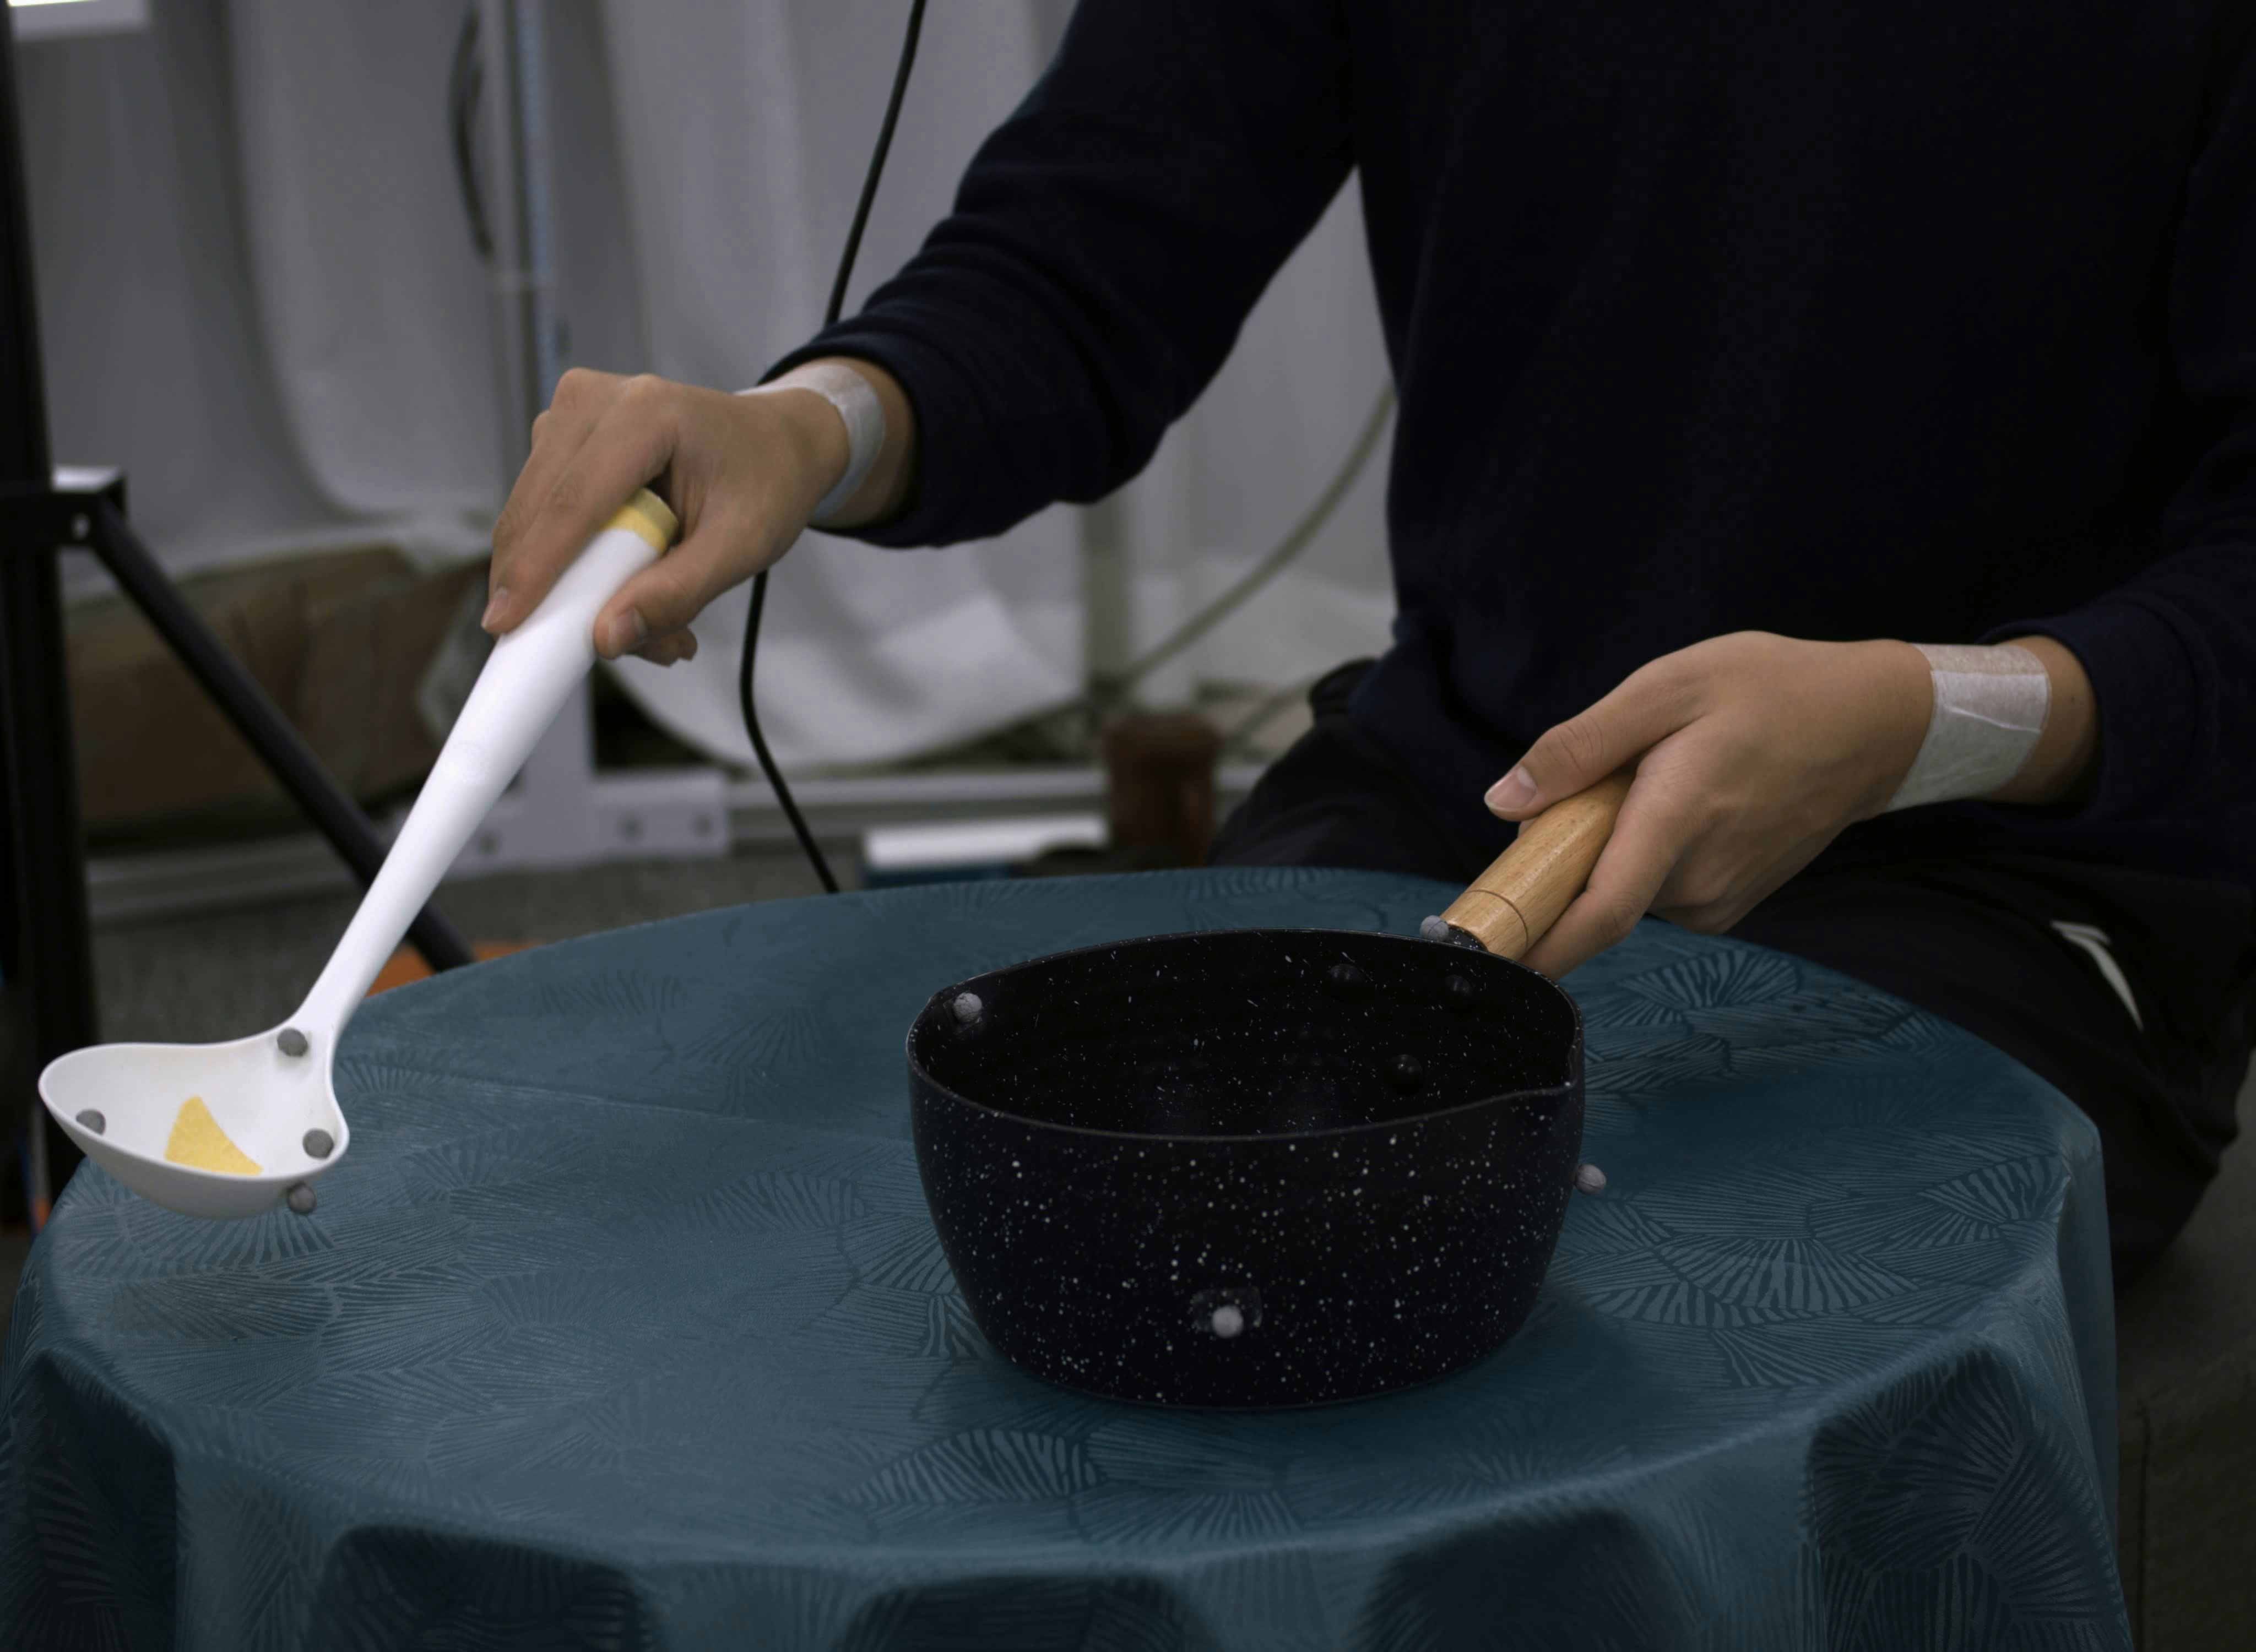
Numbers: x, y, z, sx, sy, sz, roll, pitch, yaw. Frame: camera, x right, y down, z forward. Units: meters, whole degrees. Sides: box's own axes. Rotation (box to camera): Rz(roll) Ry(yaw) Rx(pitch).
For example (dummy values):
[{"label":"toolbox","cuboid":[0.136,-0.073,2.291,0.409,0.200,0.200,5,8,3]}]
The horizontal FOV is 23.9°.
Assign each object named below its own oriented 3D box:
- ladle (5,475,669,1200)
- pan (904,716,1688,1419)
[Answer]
[{"label":"ladle","cuboid":[-0.222,-0.004,1.574,0.091,0.069,0.292,13,55,26]},{"label":"pan","cuboid":[0.073,0.063,1.505,0.211,0.108,0.336,6,19,31]}]
